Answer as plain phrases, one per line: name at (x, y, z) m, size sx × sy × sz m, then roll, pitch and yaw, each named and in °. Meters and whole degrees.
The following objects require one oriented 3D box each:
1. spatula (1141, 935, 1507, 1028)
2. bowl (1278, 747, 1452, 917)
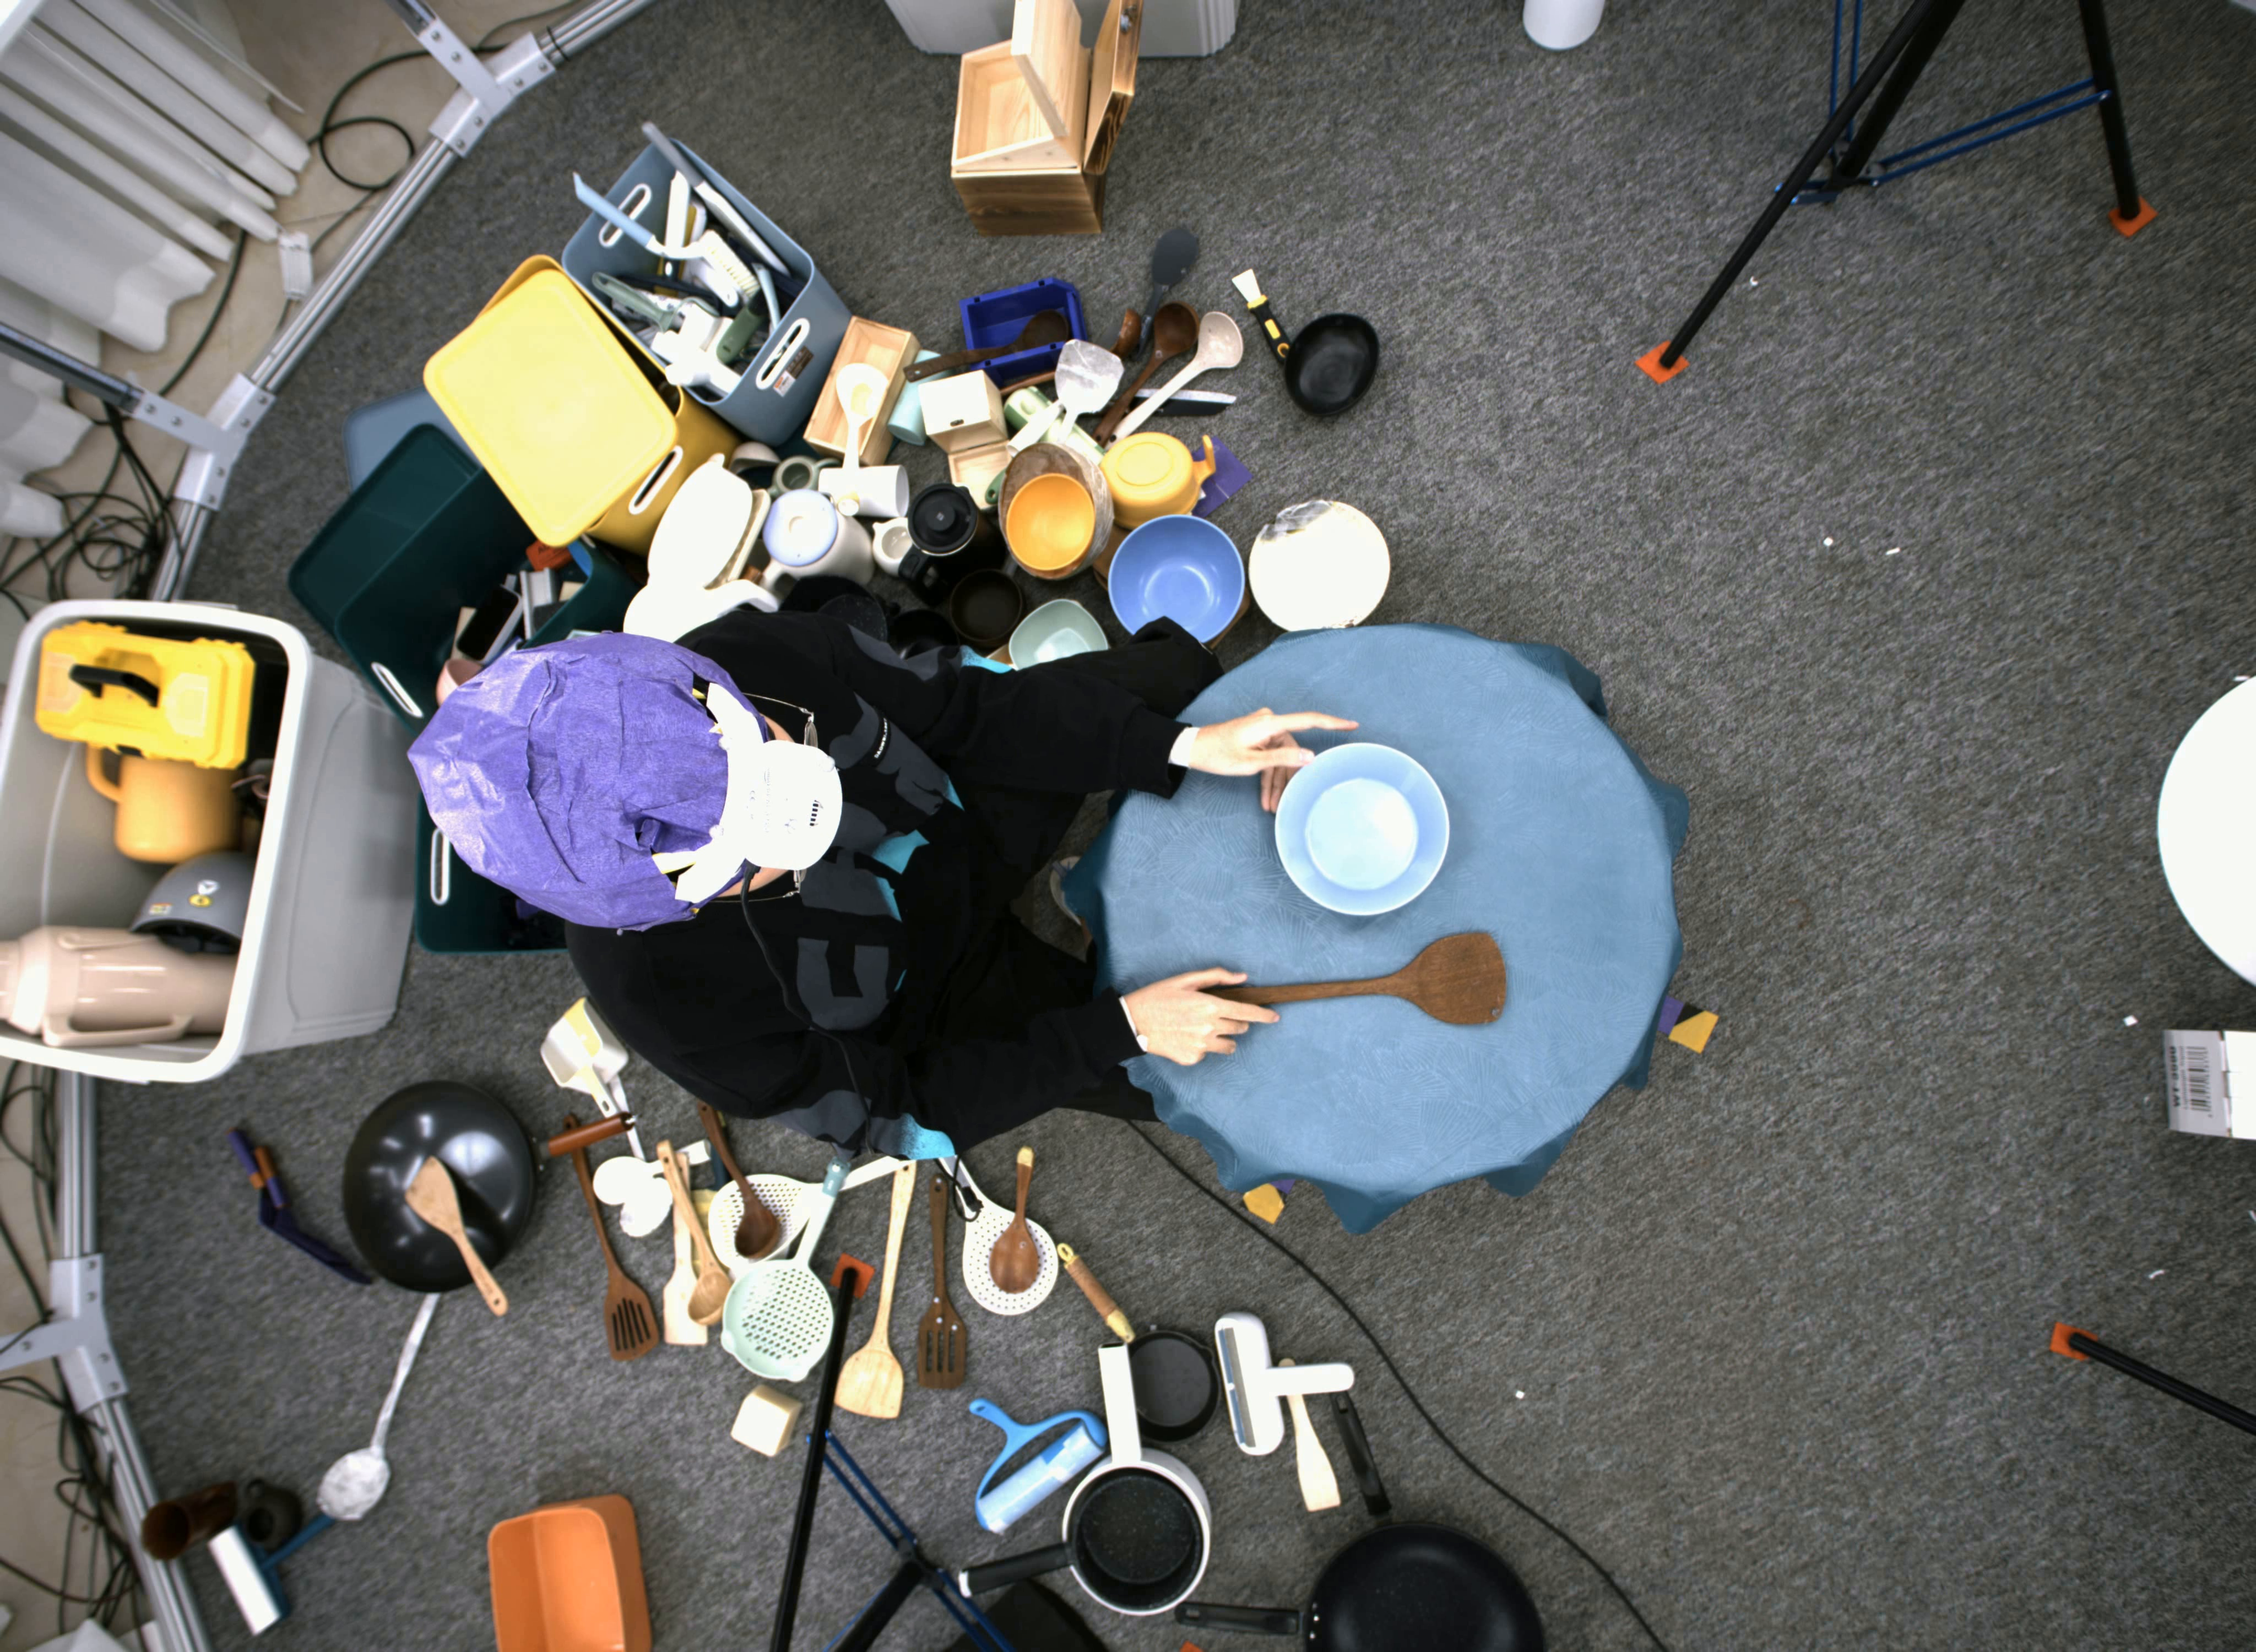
spatula at (0.203, 0.176, 1.462) m, size 0.388 × 0.016 × 0.095 m, roll -6°, pitch 84°, yaw 10°
bowl at (0.247, 0.008, 1.438) m, size 0.177 × 0.070 × 0.175 m, roll -1°, pitch 86°, yaw 12°
